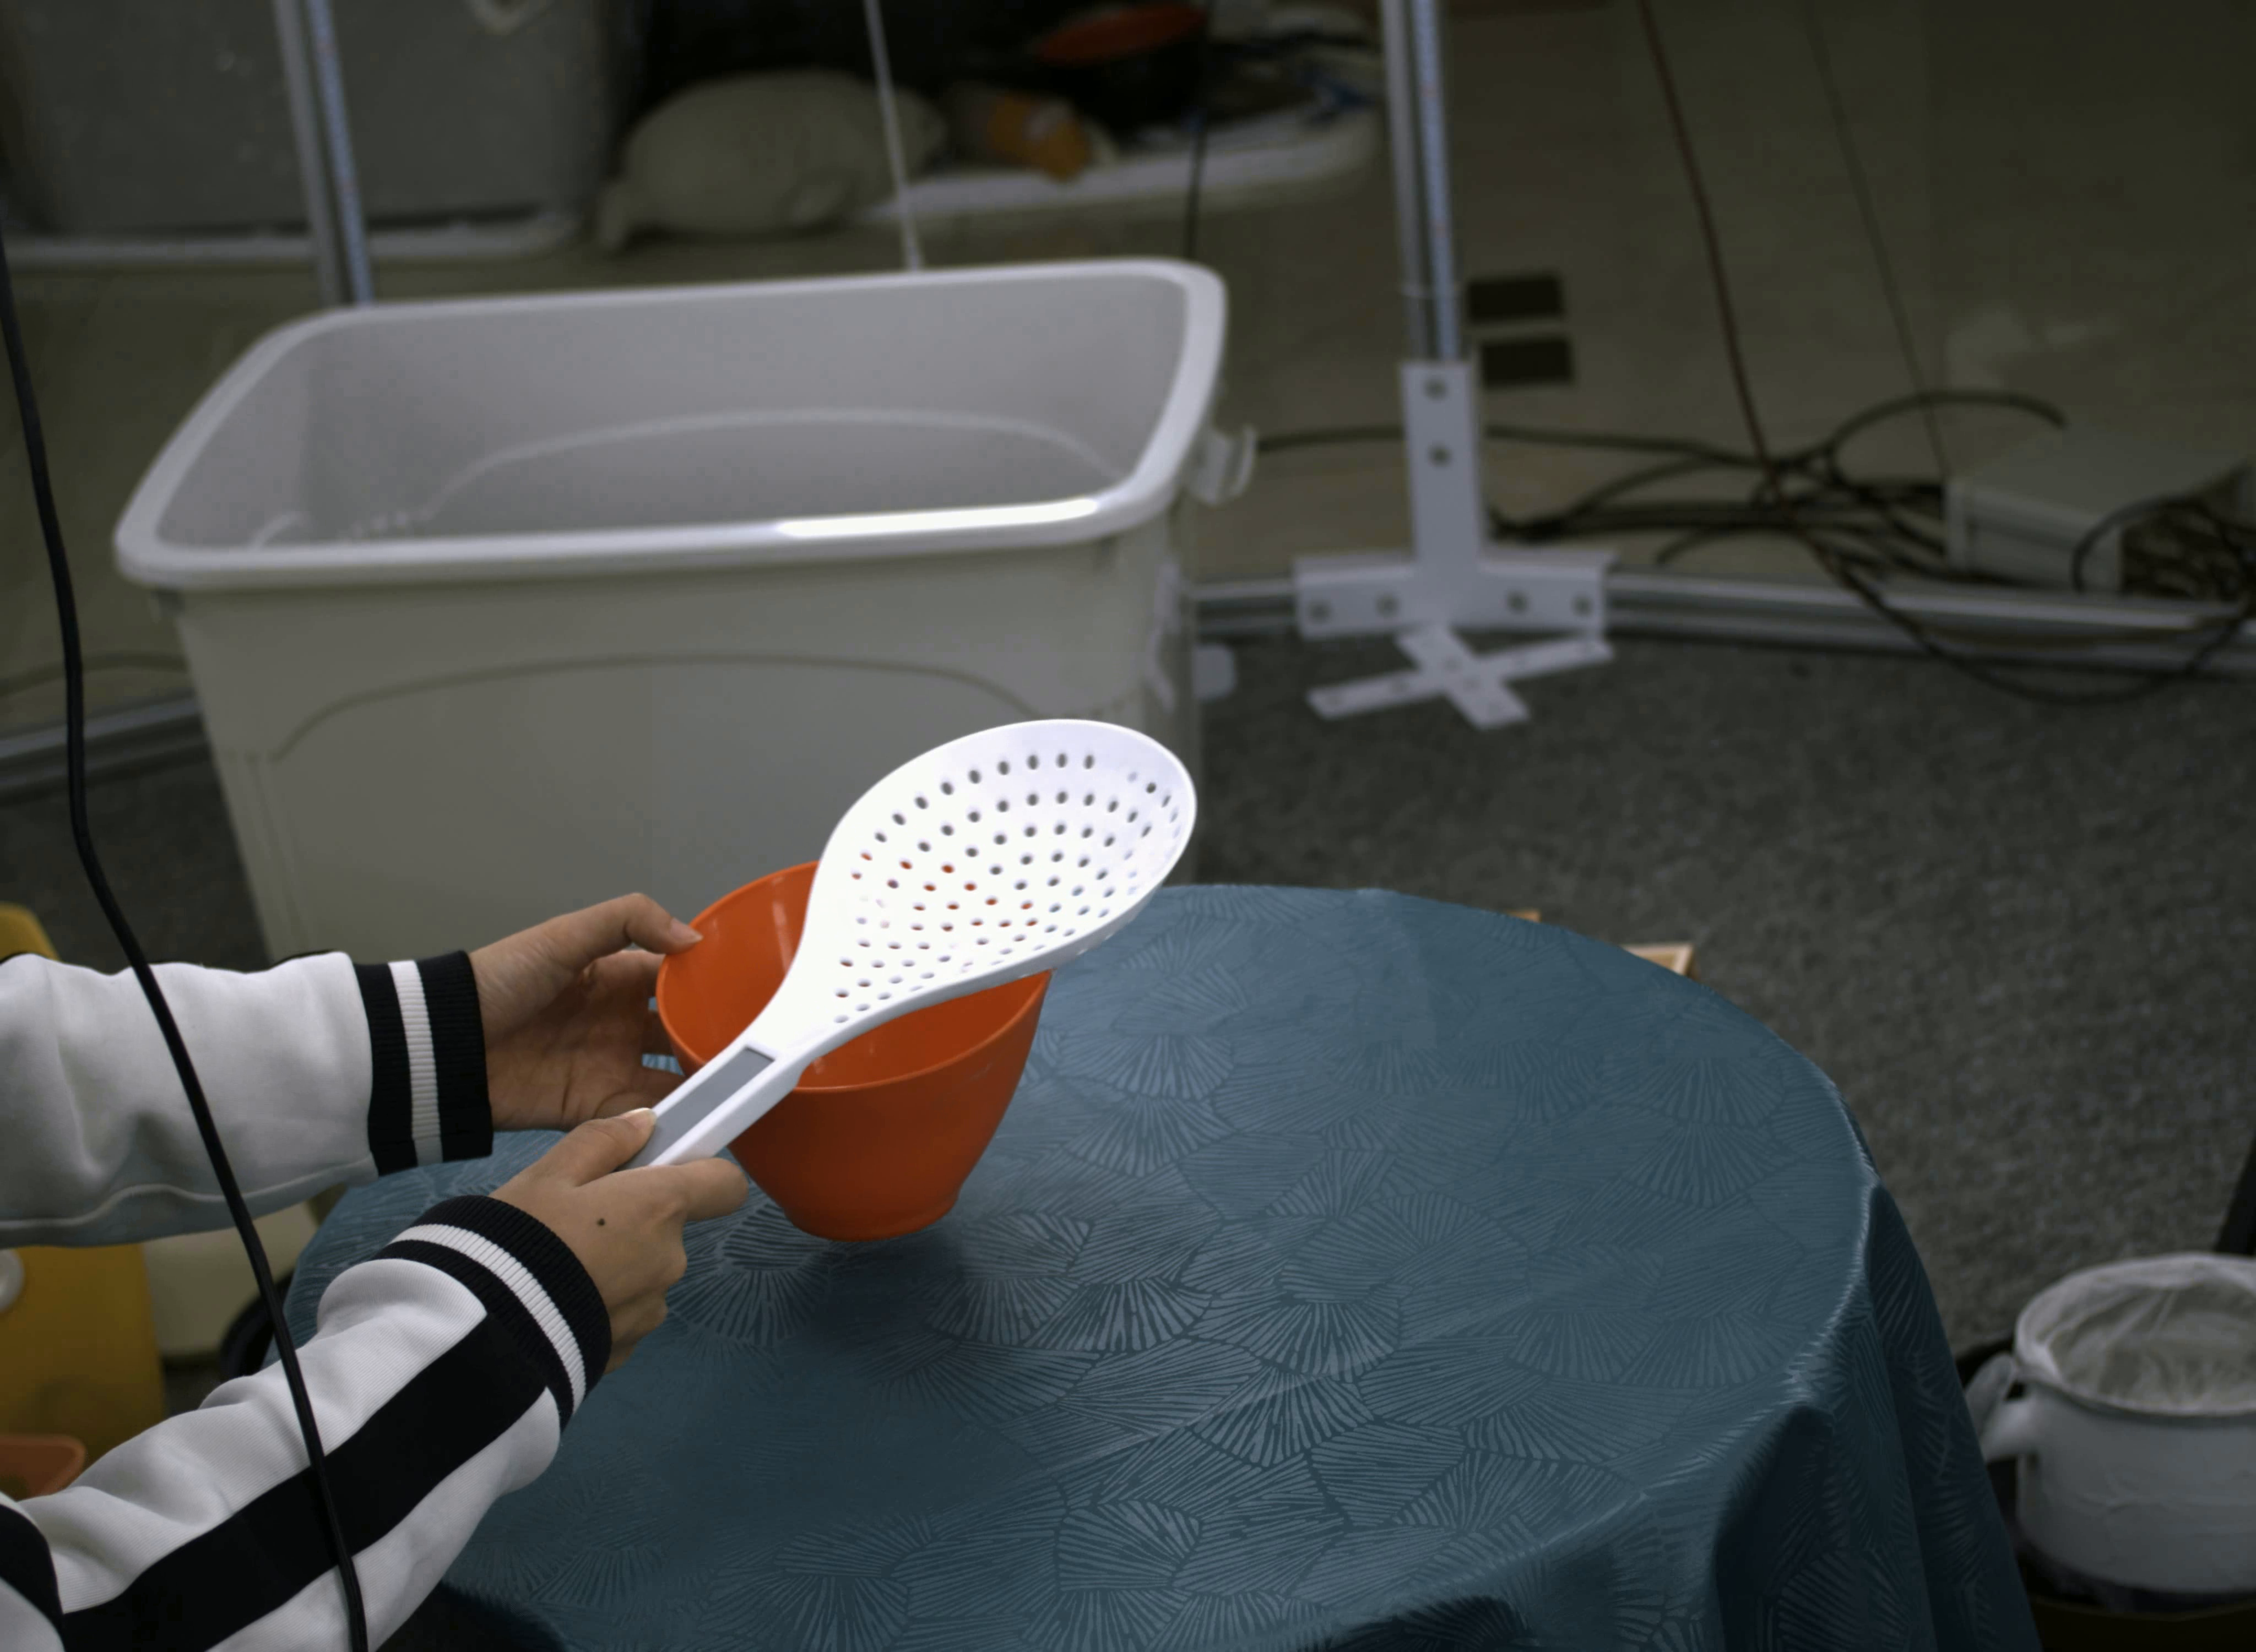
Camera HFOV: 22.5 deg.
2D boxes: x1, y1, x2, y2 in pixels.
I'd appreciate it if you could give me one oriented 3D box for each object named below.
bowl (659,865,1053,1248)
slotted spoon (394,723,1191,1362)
[{"bbox_3d":[-0.099,0.091,2.119,0.148,0.106,0.146,-2,26,1],"label":"bowl"},{"bbox_3d":[-0.115,0.072,1.943,0.135,0.046,0.346,23,47,40],"label":"slotted spoon"}]
